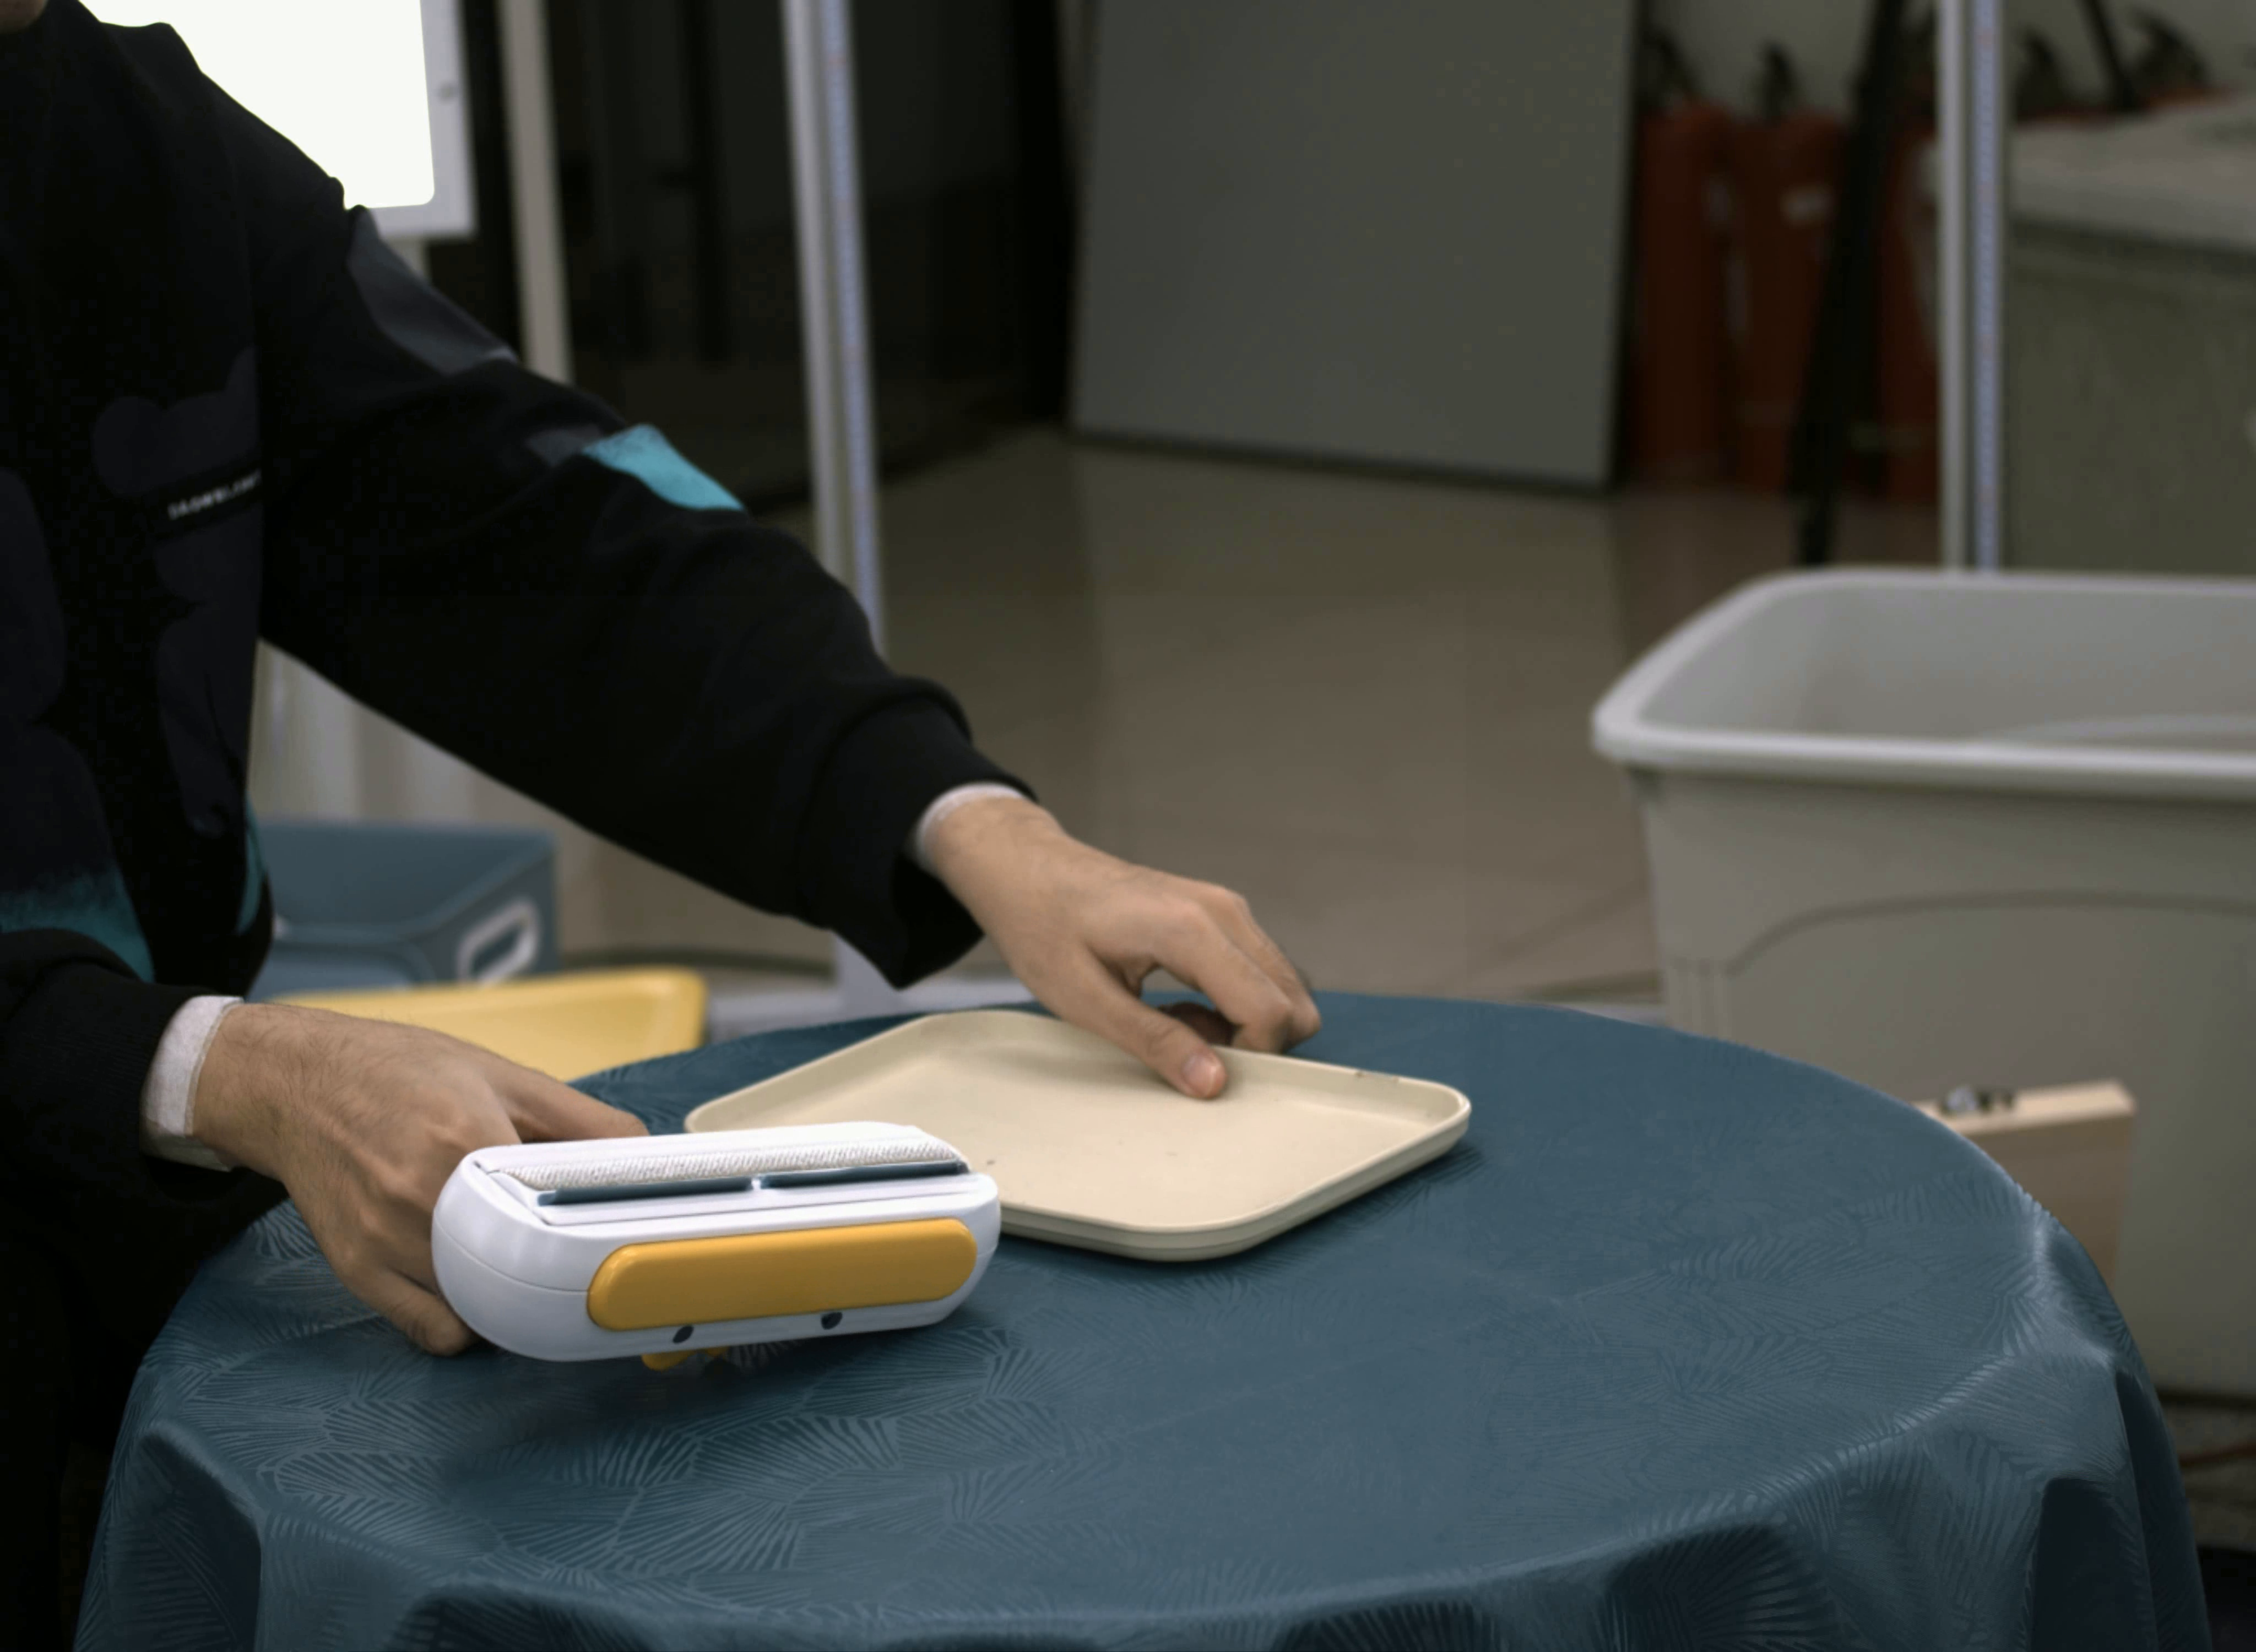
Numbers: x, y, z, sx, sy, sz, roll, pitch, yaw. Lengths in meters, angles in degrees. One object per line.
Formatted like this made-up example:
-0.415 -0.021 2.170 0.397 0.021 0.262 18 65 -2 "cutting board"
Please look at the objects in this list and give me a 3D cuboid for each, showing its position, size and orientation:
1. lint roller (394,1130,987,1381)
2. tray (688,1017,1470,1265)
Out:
-0.162 0.117 1.664 0.188 0.075 0.194 -5 17 -36 "lint roller"
-0.017 0.105 1.807 0.241 0.017 0.168 7 18 39 "tray"
